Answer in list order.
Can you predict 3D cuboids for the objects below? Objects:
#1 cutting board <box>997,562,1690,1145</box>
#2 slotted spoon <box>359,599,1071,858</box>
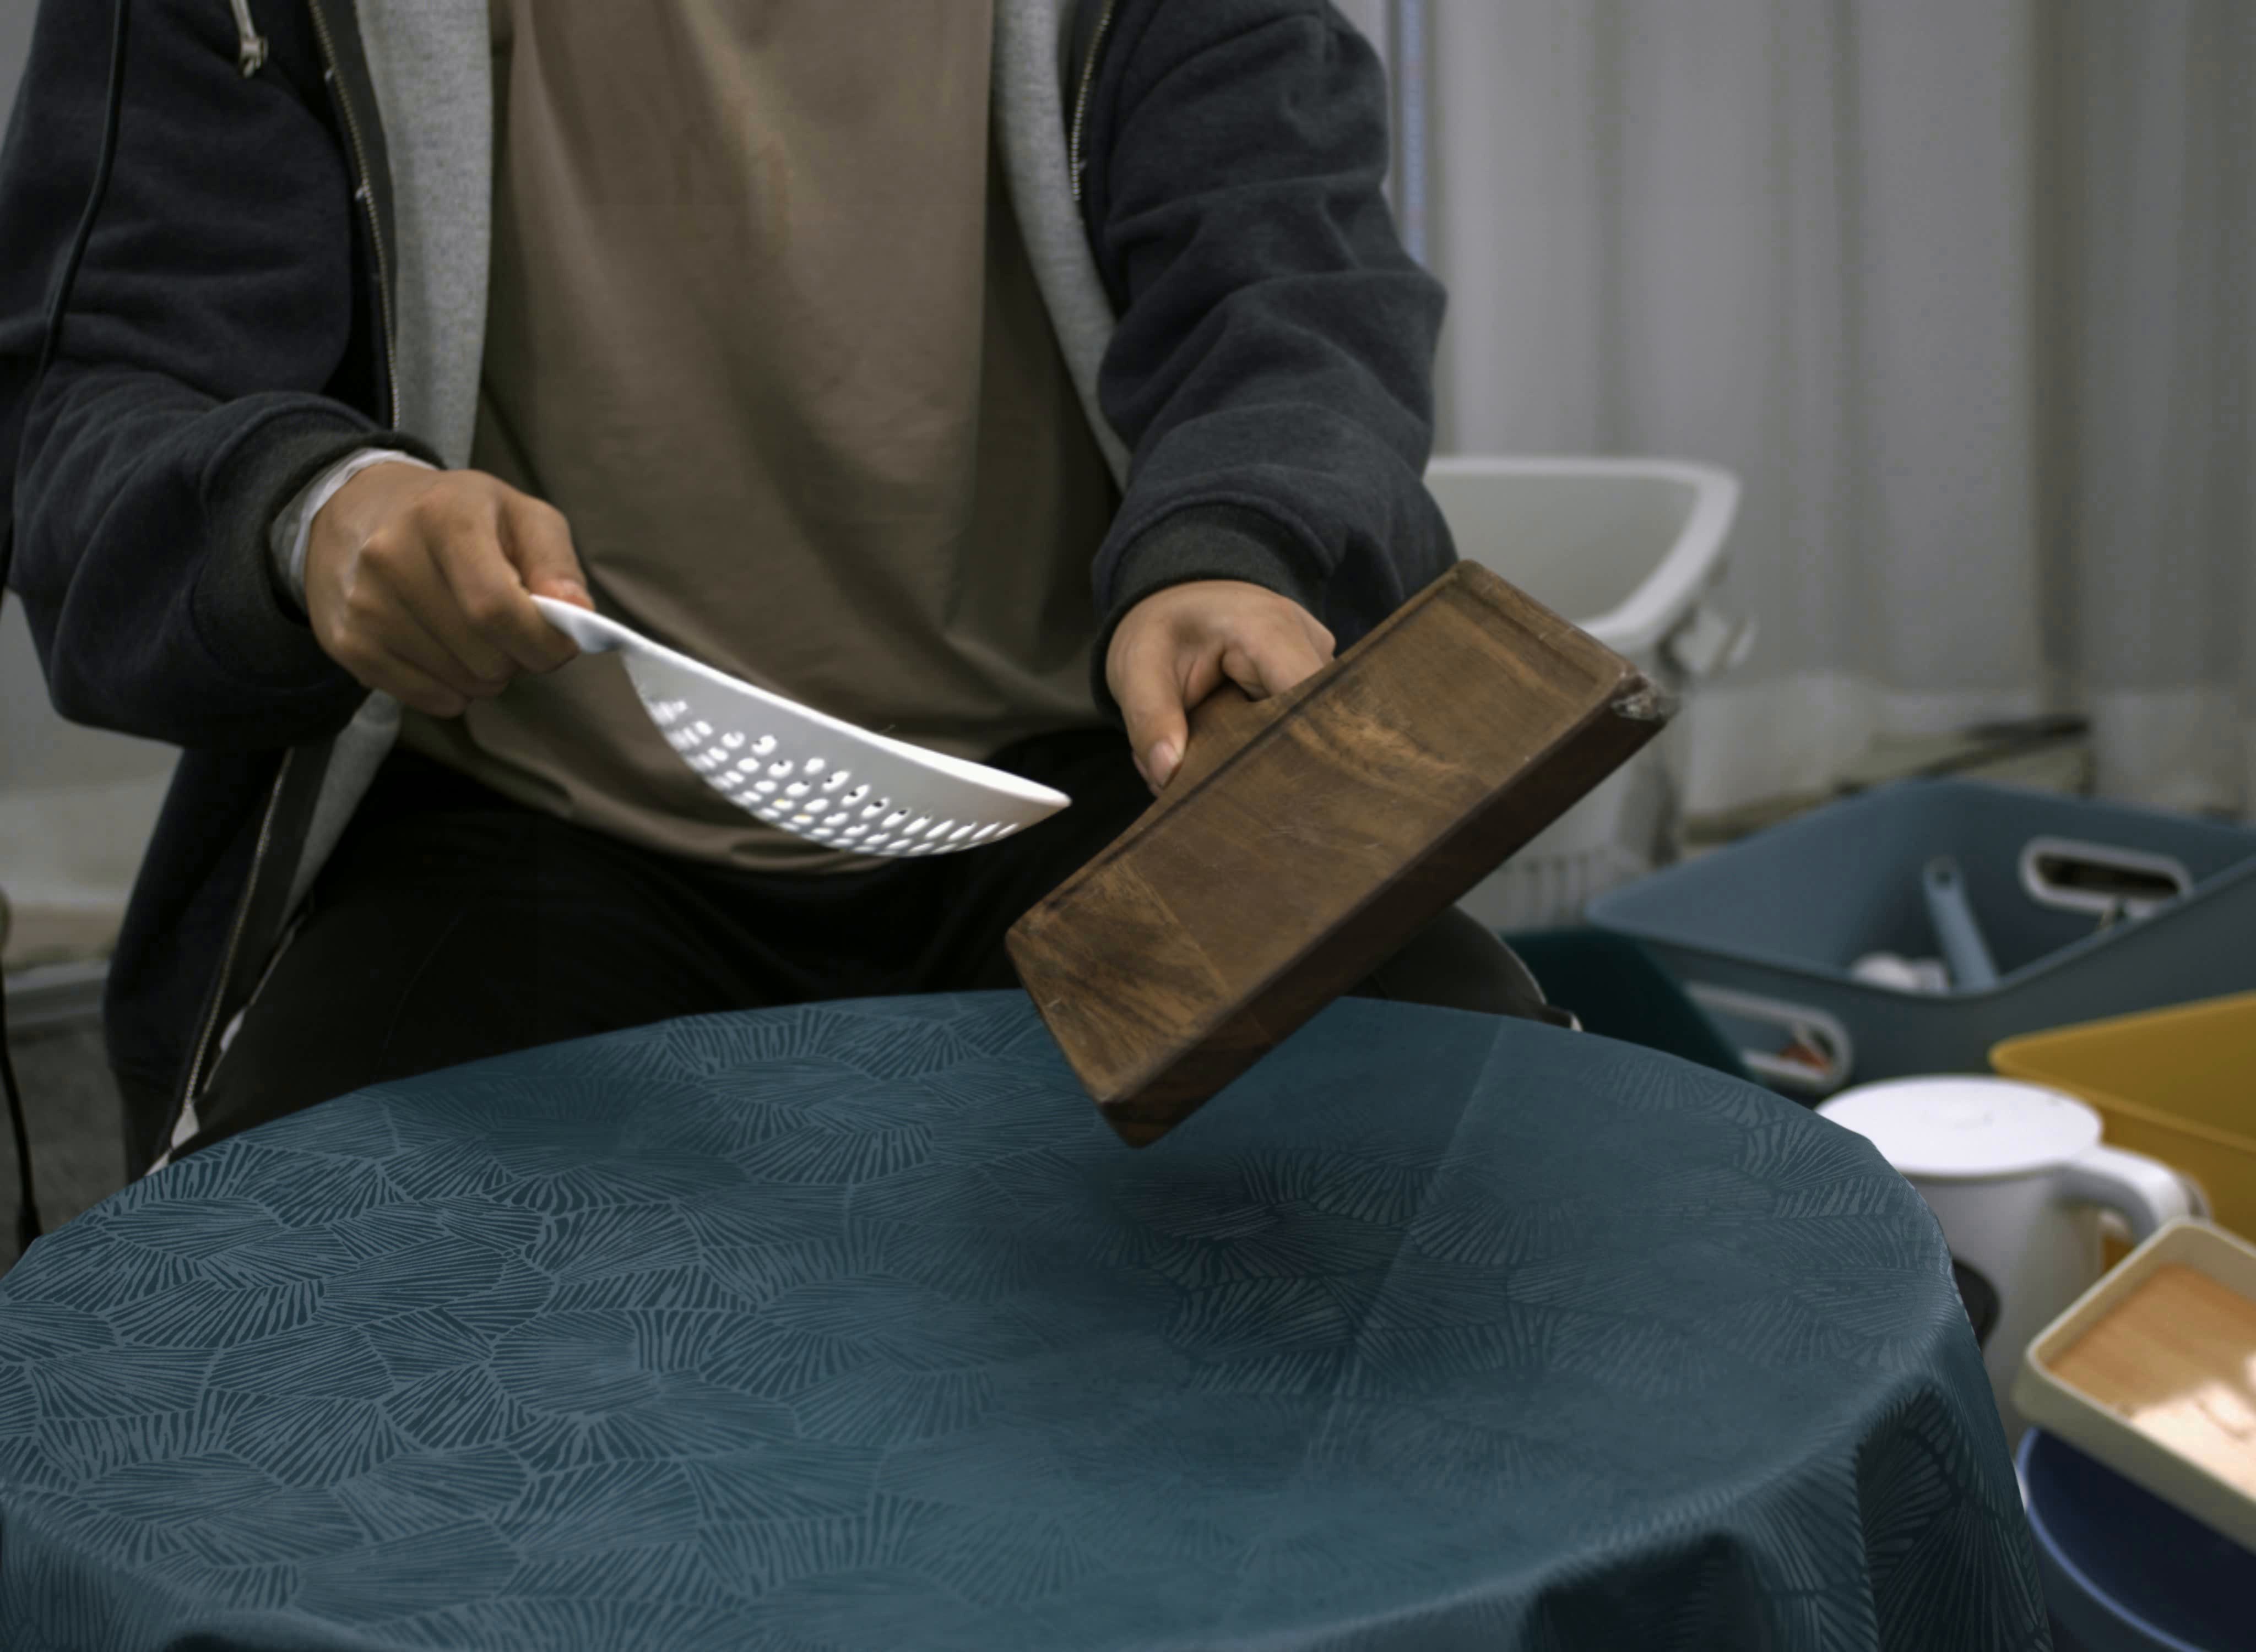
[{"bbox_3d":[0.050,-0.006,1.683,0.201,0.023,0.354,-38,13,-1],"label":"cutting board"},{"bbox_3d":[-0.149,-0.042,1.725,0.135,0.050,0.351,17,5,-36],"label":"slotted spoon"}]
